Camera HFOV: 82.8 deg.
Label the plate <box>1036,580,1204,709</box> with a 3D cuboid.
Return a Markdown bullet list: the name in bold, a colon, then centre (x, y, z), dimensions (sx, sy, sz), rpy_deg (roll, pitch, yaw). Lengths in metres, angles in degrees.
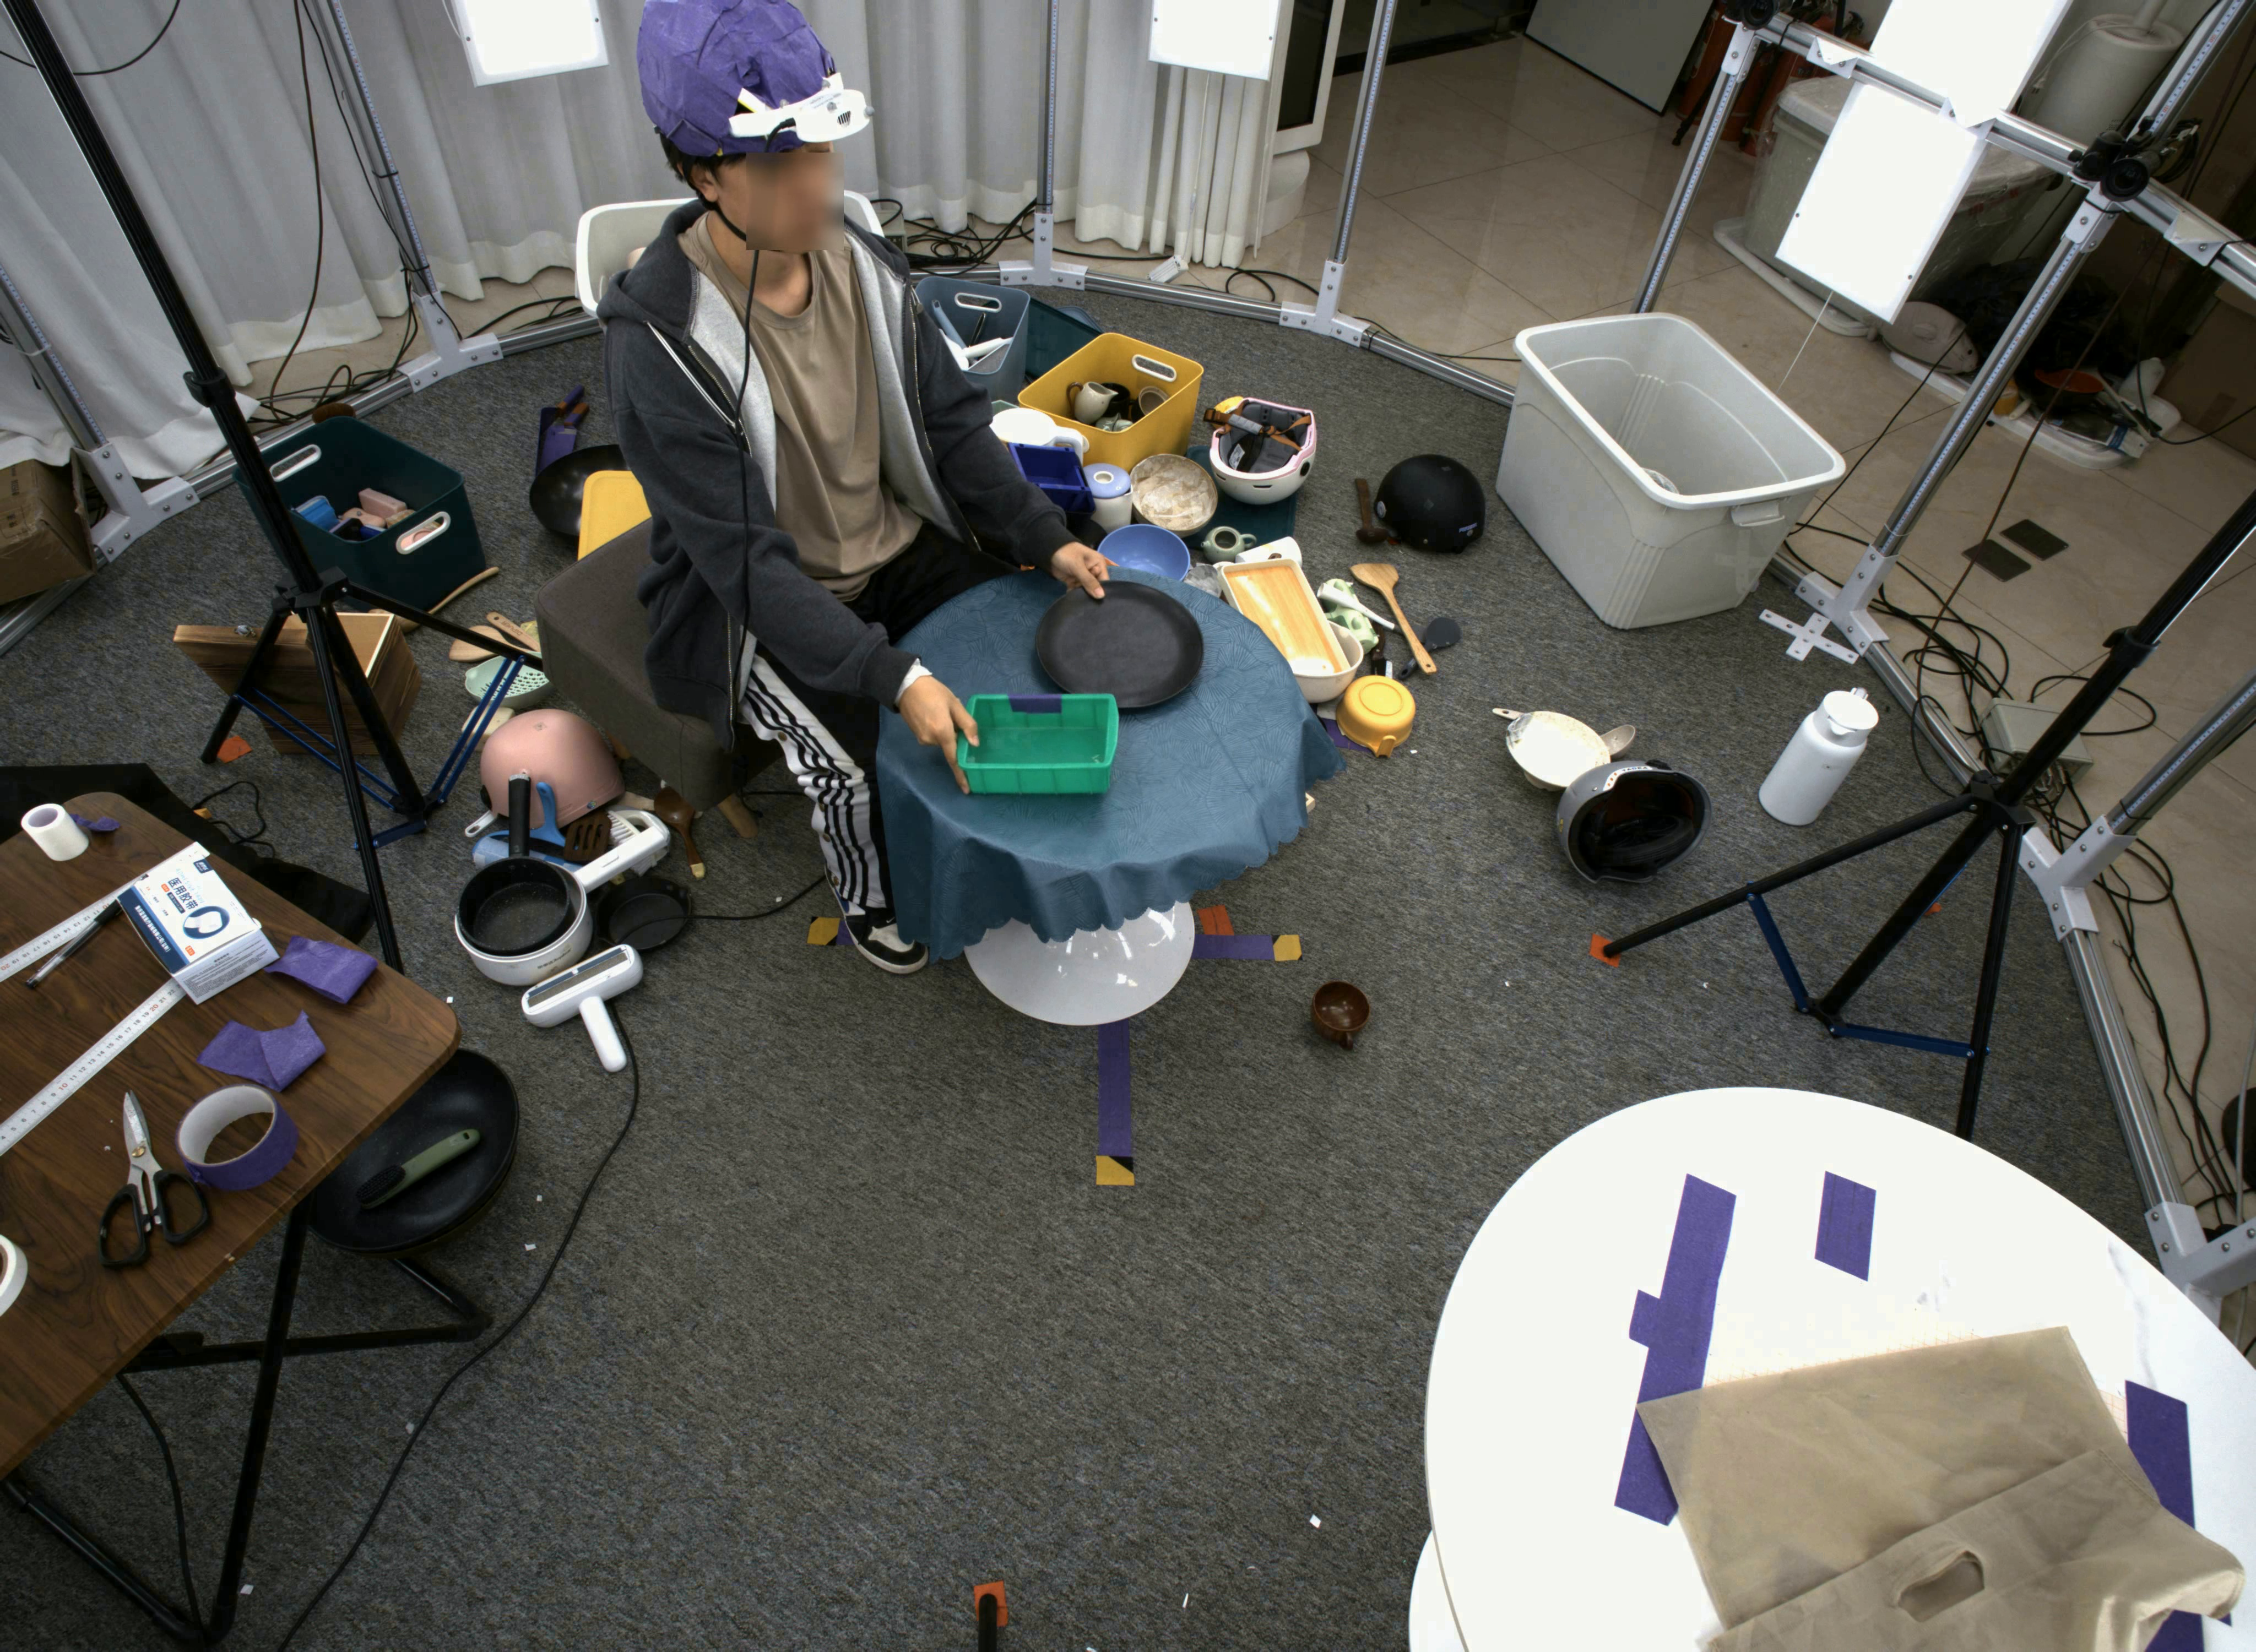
- **plate**: centre (-0.012, -0.261, 1.865), dimensions (0.244, 0.023, 0.250), rpy_deg (2, 55, -3)

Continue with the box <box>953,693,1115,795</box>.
- **box**: centre (-0.120, -0.106, 1.698), dimensions (0.210, 0.064, 0.142), rpy_deg (-2, 46, 4)
